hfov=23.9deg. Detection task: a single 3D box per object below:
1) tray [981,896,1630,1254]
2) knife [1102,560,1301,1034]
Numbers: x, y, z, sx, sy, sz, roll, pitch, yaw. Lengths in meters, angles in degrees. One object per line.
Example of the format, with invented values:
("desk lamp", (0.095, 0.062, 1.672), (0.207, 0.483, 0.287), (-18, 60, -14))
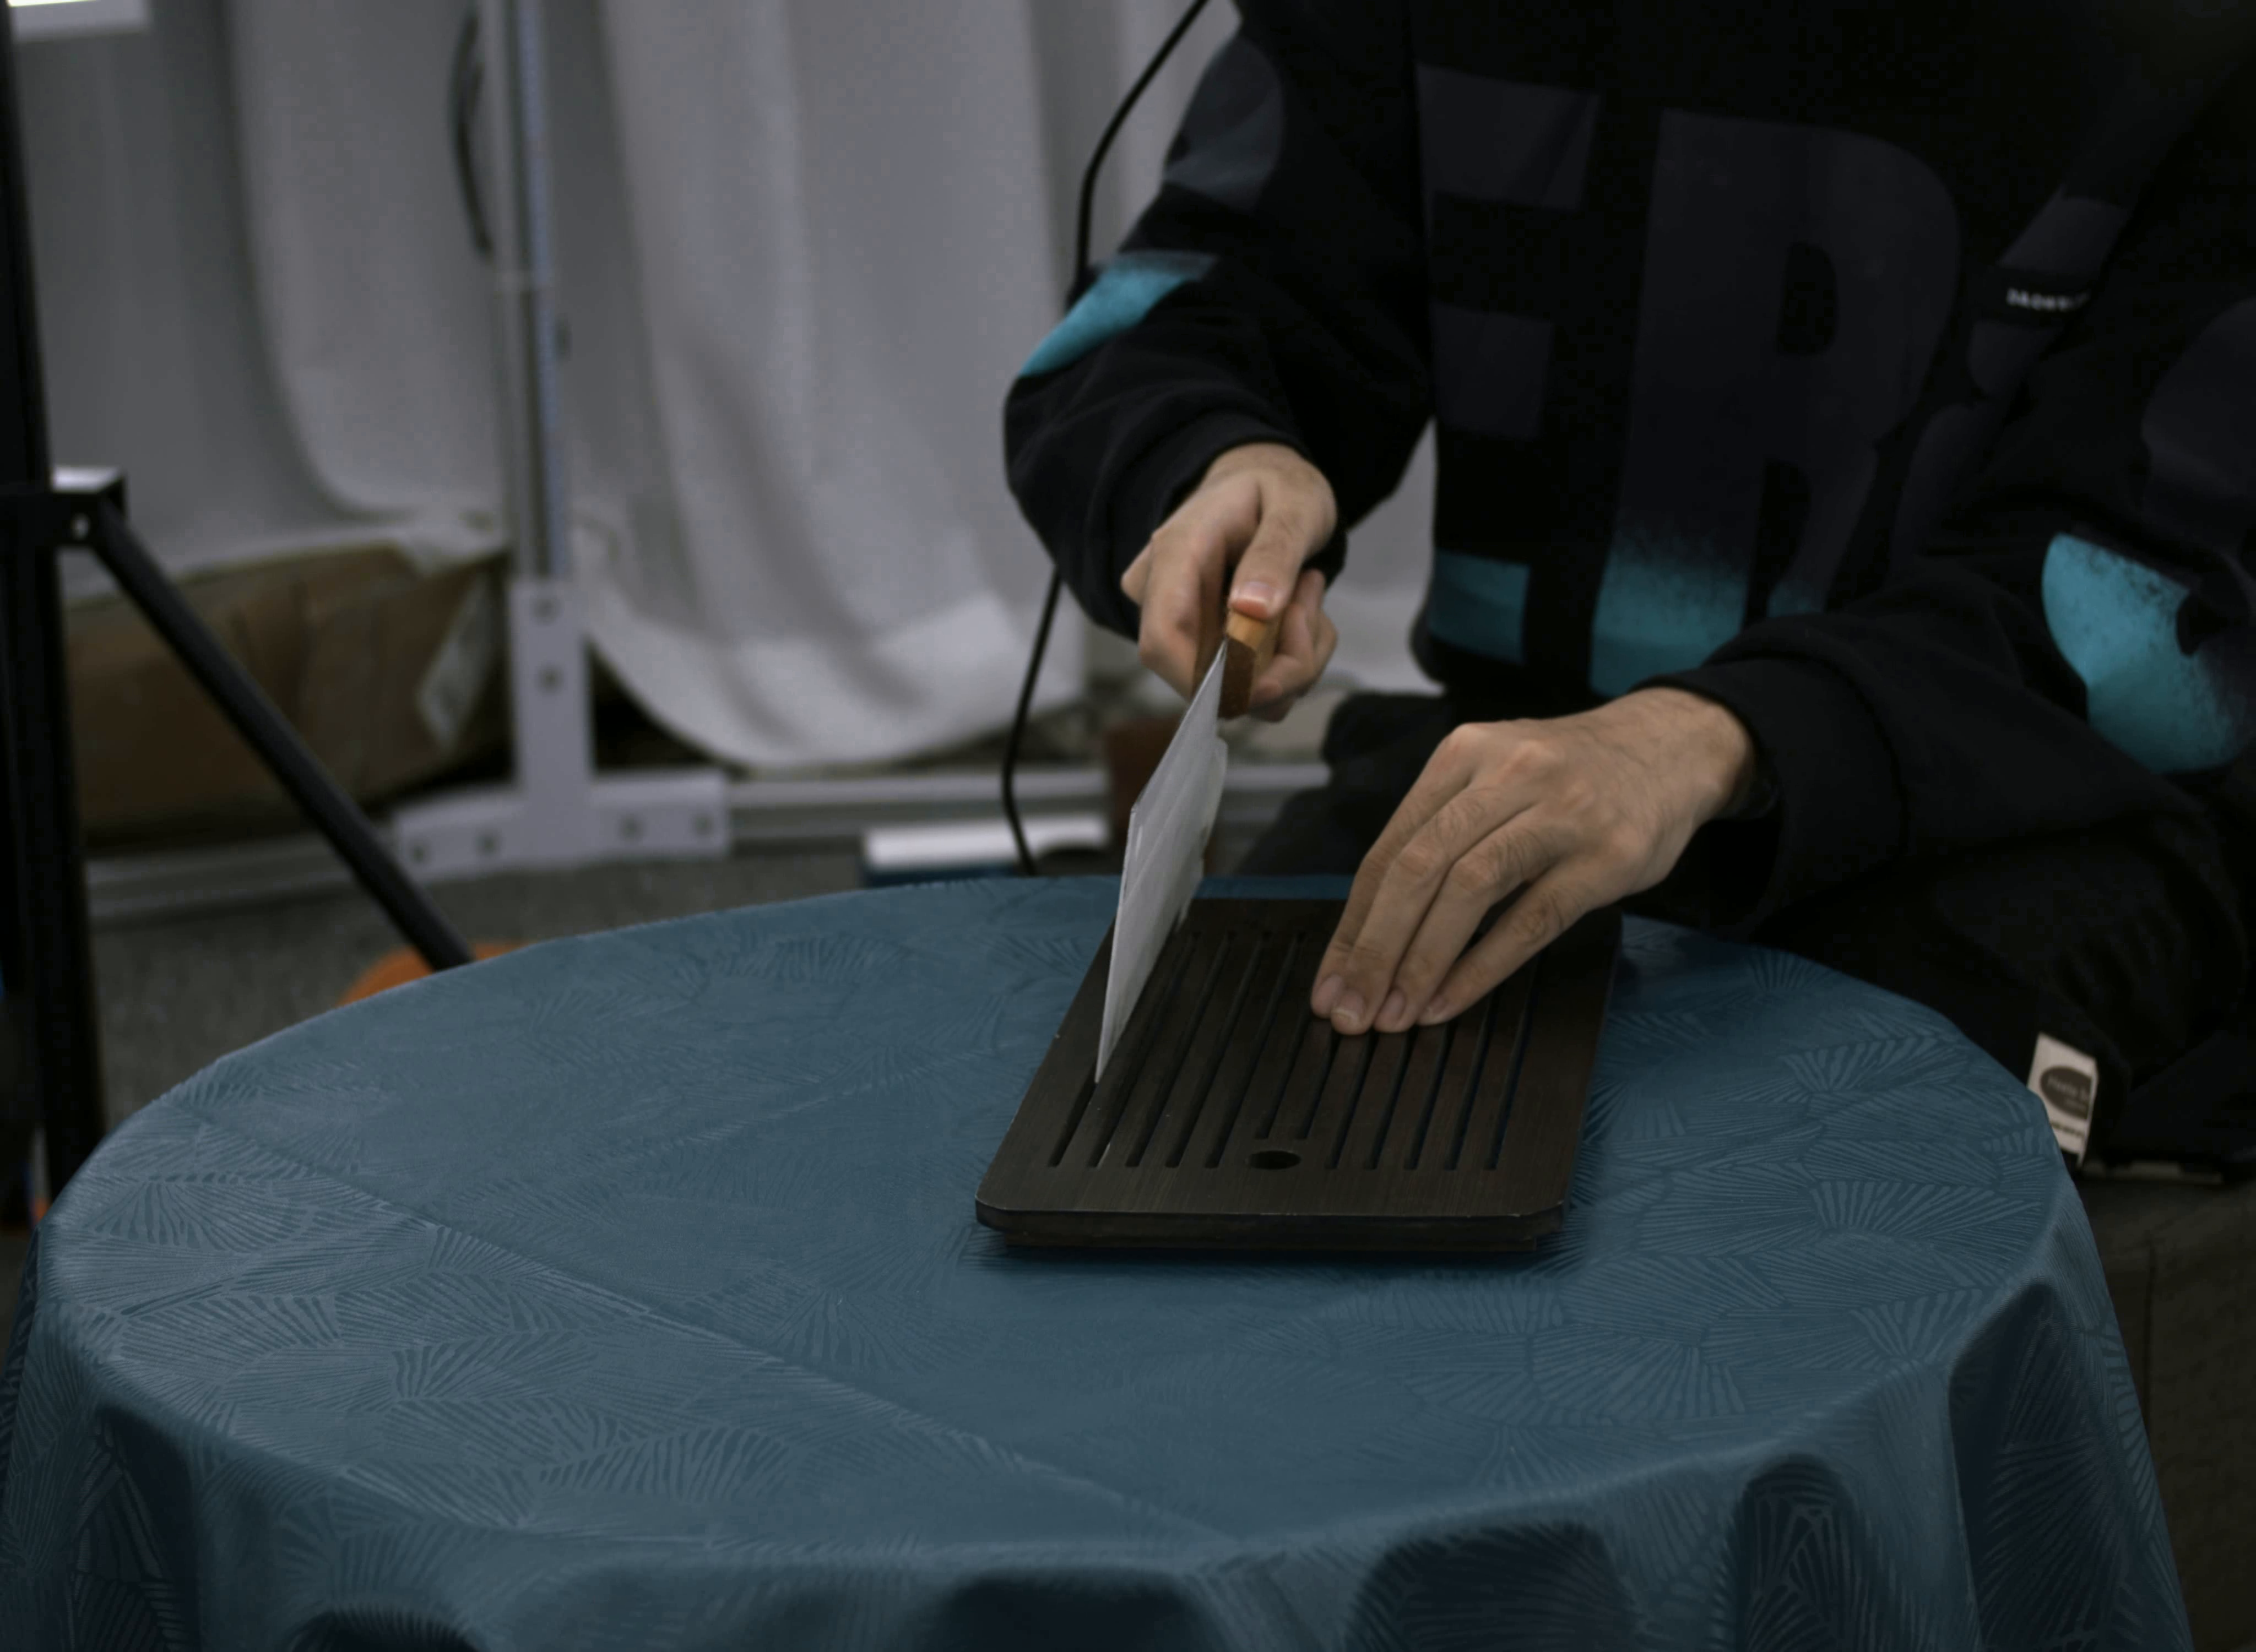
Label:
("tray", (0.062, 0.074, 1.633), (0.171, 0.018, 0.305), (0, 16, 10))
("knife", (0.022, -0.010, 1.710), (0.021, 0.093, 0.304), (9, 19, 7))
